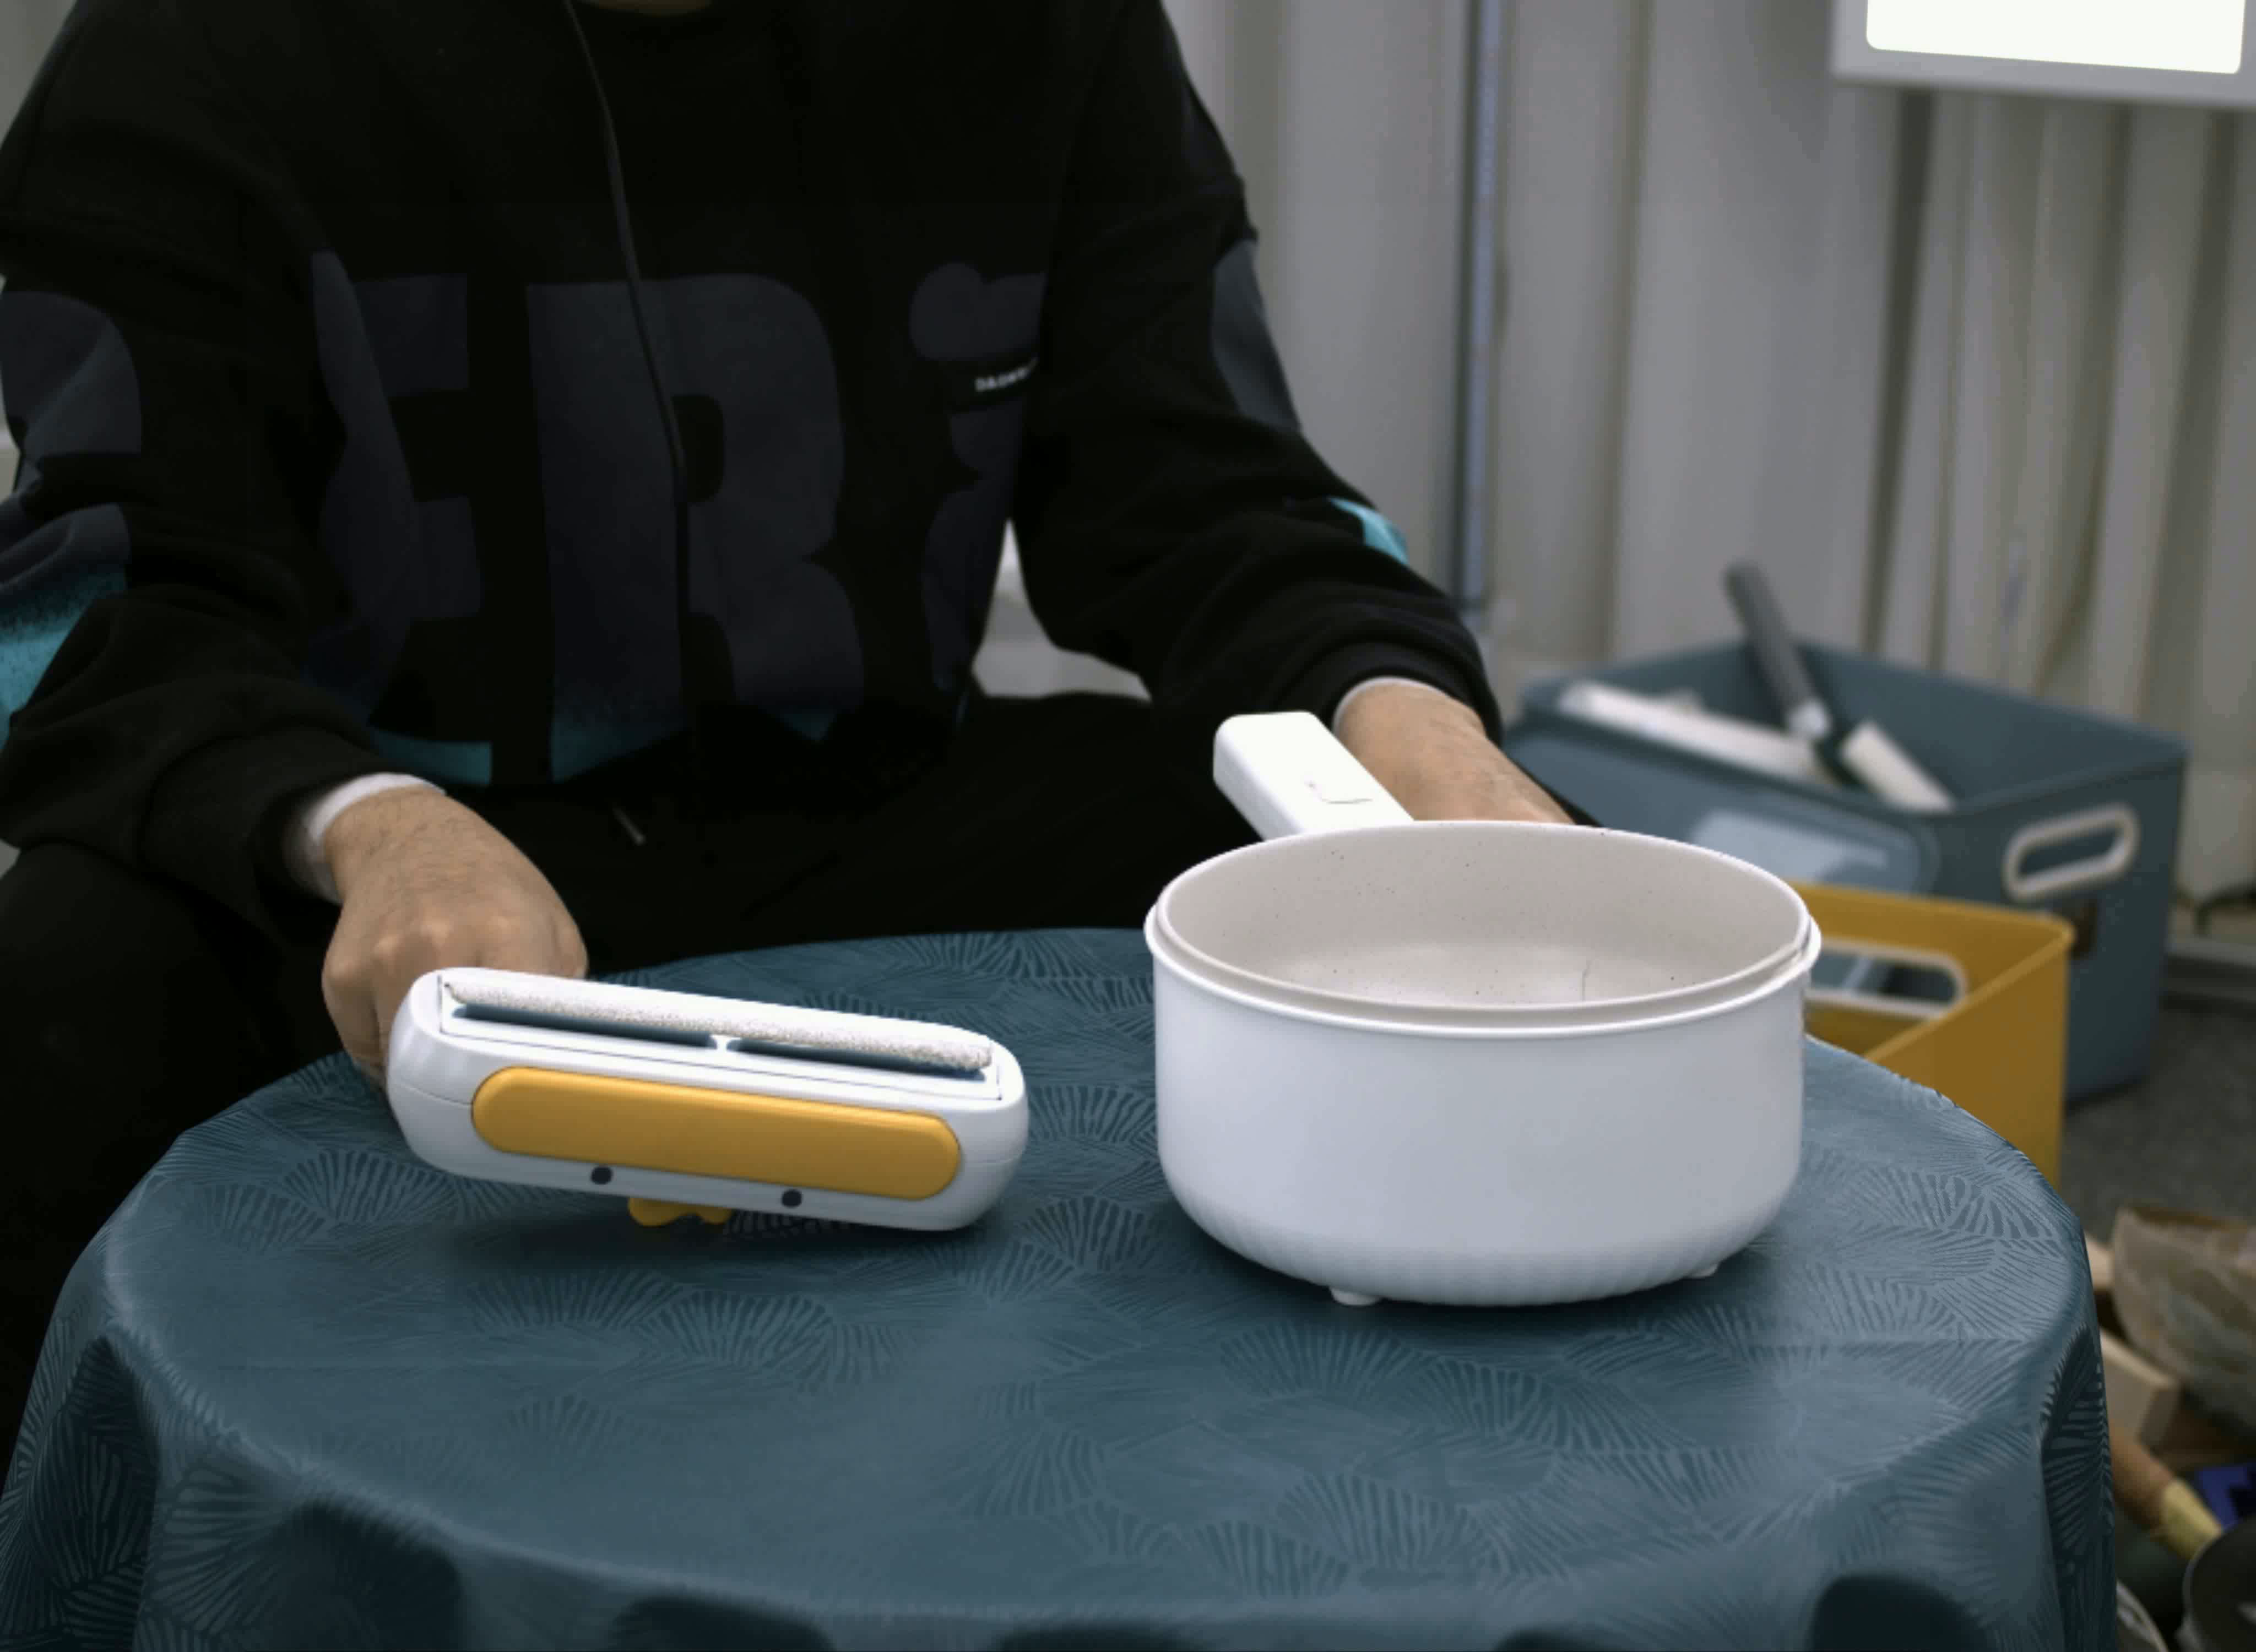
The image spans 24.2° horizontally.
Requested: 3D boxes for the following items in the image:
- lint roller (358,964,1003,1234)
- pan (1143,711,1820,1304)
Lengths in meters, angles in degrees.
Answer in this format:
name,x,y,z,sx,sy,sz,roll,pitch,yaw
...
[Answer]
name,x,y,z,sx,sy,sz,roll,pitch,yaw
lint roller,-0.139,0.074,1.628,0.193,0.075,0.191,4,13,-7
pan,0.087,0.052,1.648,0.201,0.103,0.351,-4,16,-13
